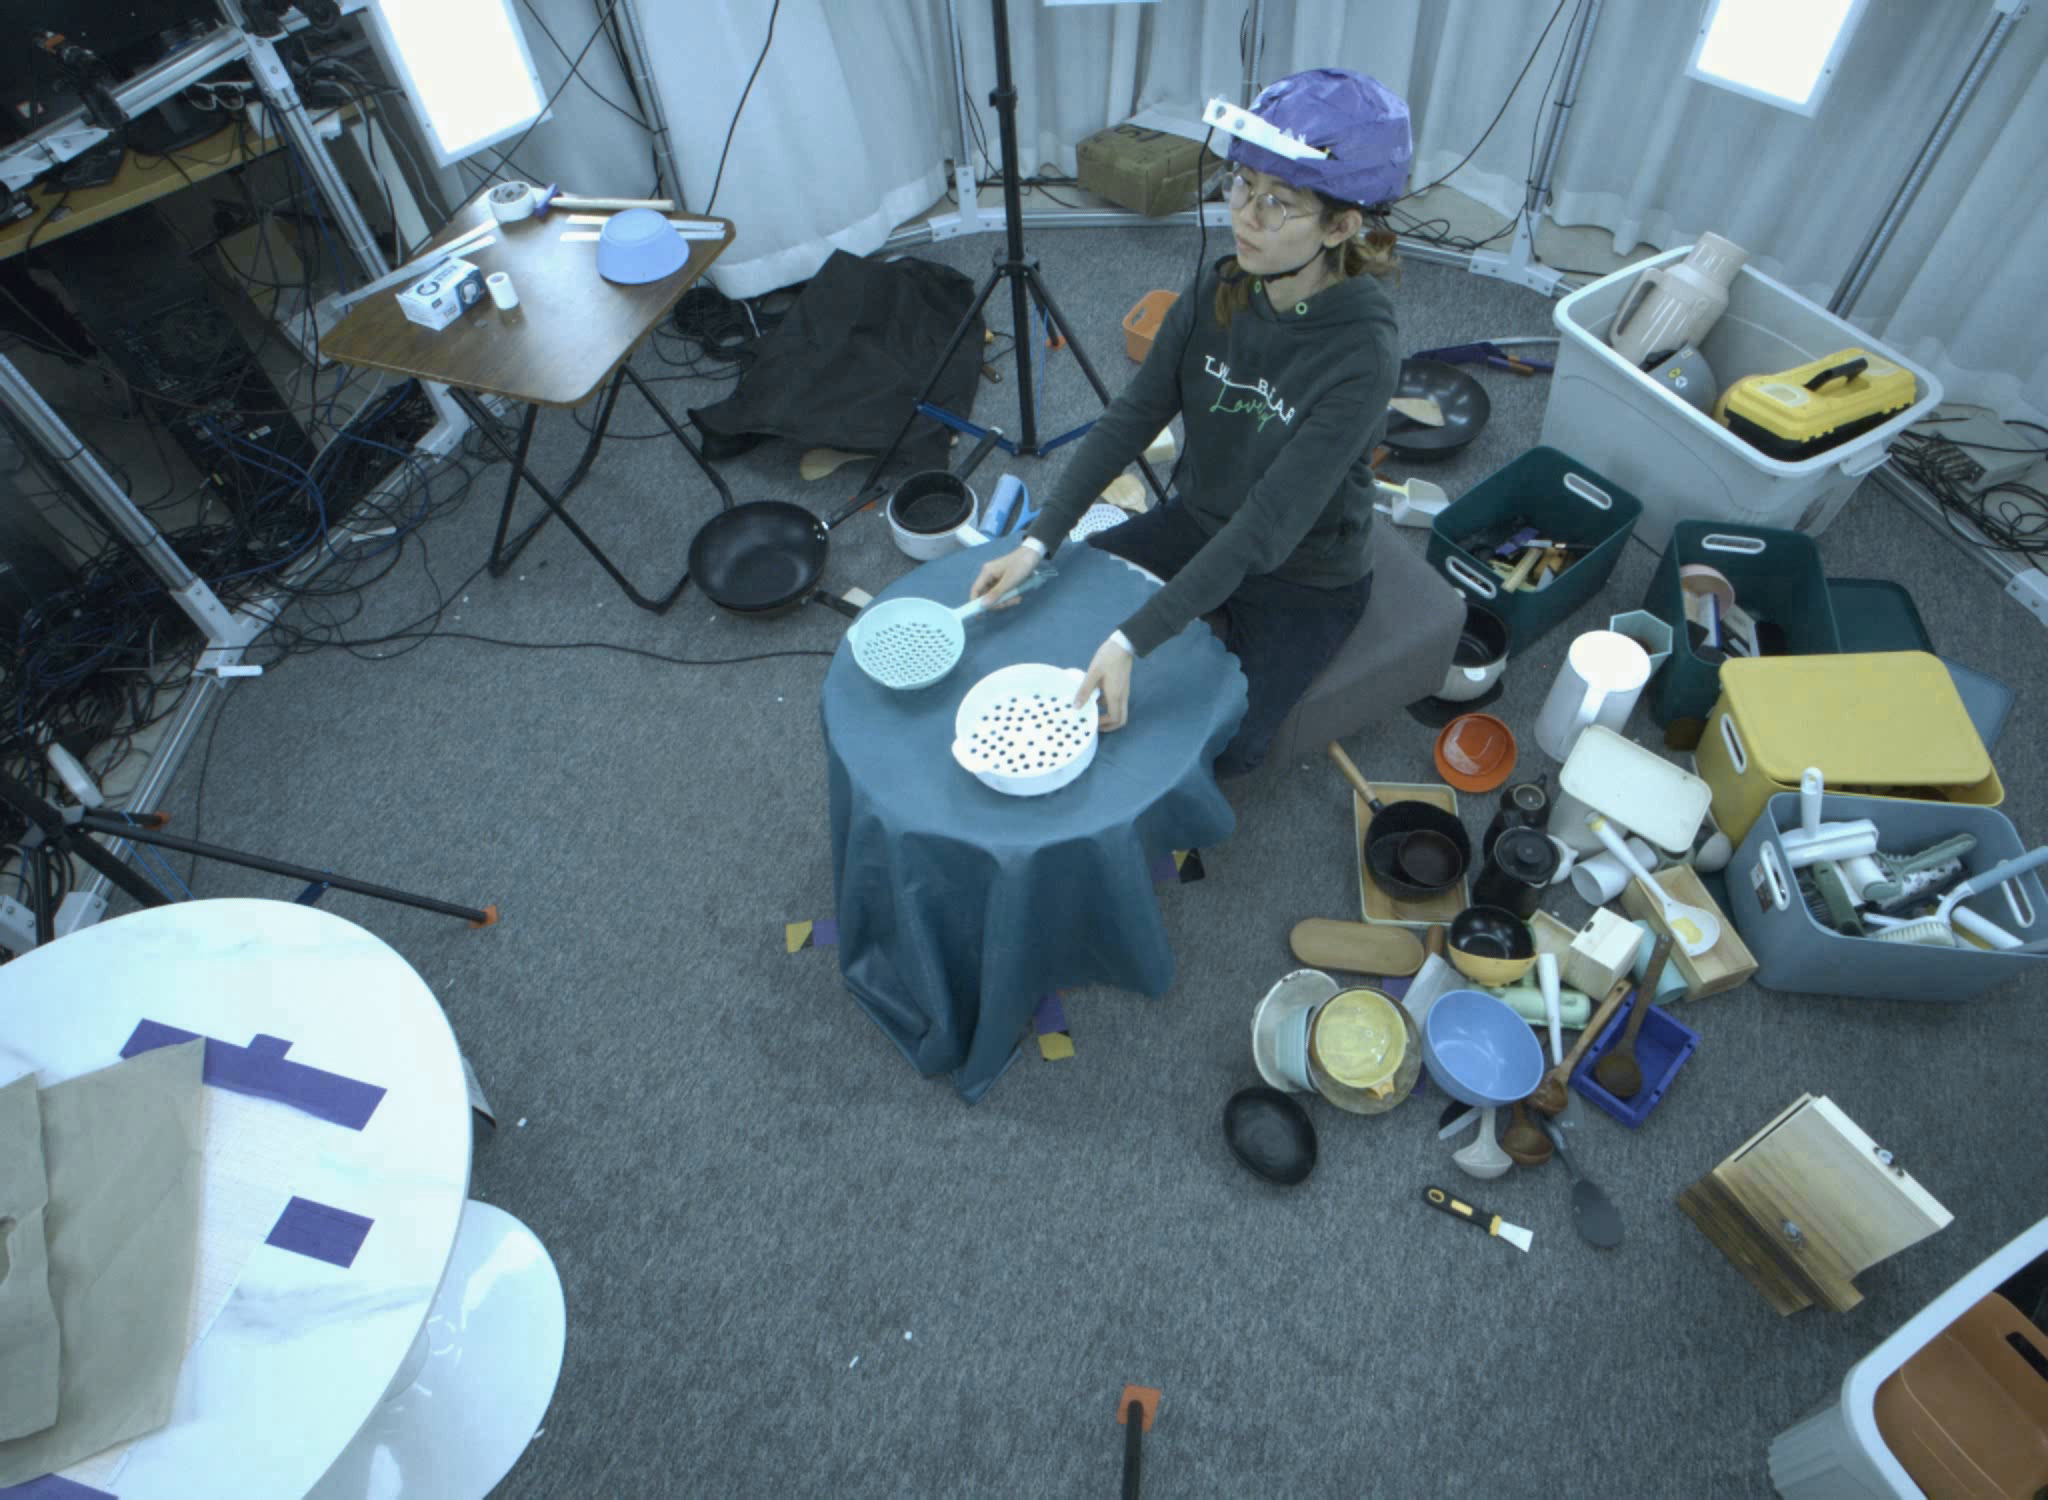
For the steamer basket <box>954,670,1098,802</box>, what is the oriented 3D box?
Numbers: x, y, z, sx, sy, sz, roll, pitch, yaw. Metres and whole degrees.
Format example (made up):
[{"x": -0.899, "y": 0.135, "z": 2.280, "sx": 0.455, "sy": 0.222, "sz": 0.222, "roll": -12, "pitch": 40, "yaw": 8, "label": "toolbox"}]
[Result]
[{"x": 0.006, "y": -0.018, "z": 1.767, "sx": 0.232, "sy": 0.070, "sz": 0.198, "roll": -35, "pitch": 60, "yaw": -17, "label": "steamer basket"}]

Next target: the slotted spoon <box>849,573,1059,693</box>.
[{"x": -0.094, "y": -0.200, "z": 1.894, "sx": 0.361, "sy": 0.076, "sz": 0.166, "roll": -34, "pitch": 65, "yaw": -15, "label": "slotted spoon"}]
